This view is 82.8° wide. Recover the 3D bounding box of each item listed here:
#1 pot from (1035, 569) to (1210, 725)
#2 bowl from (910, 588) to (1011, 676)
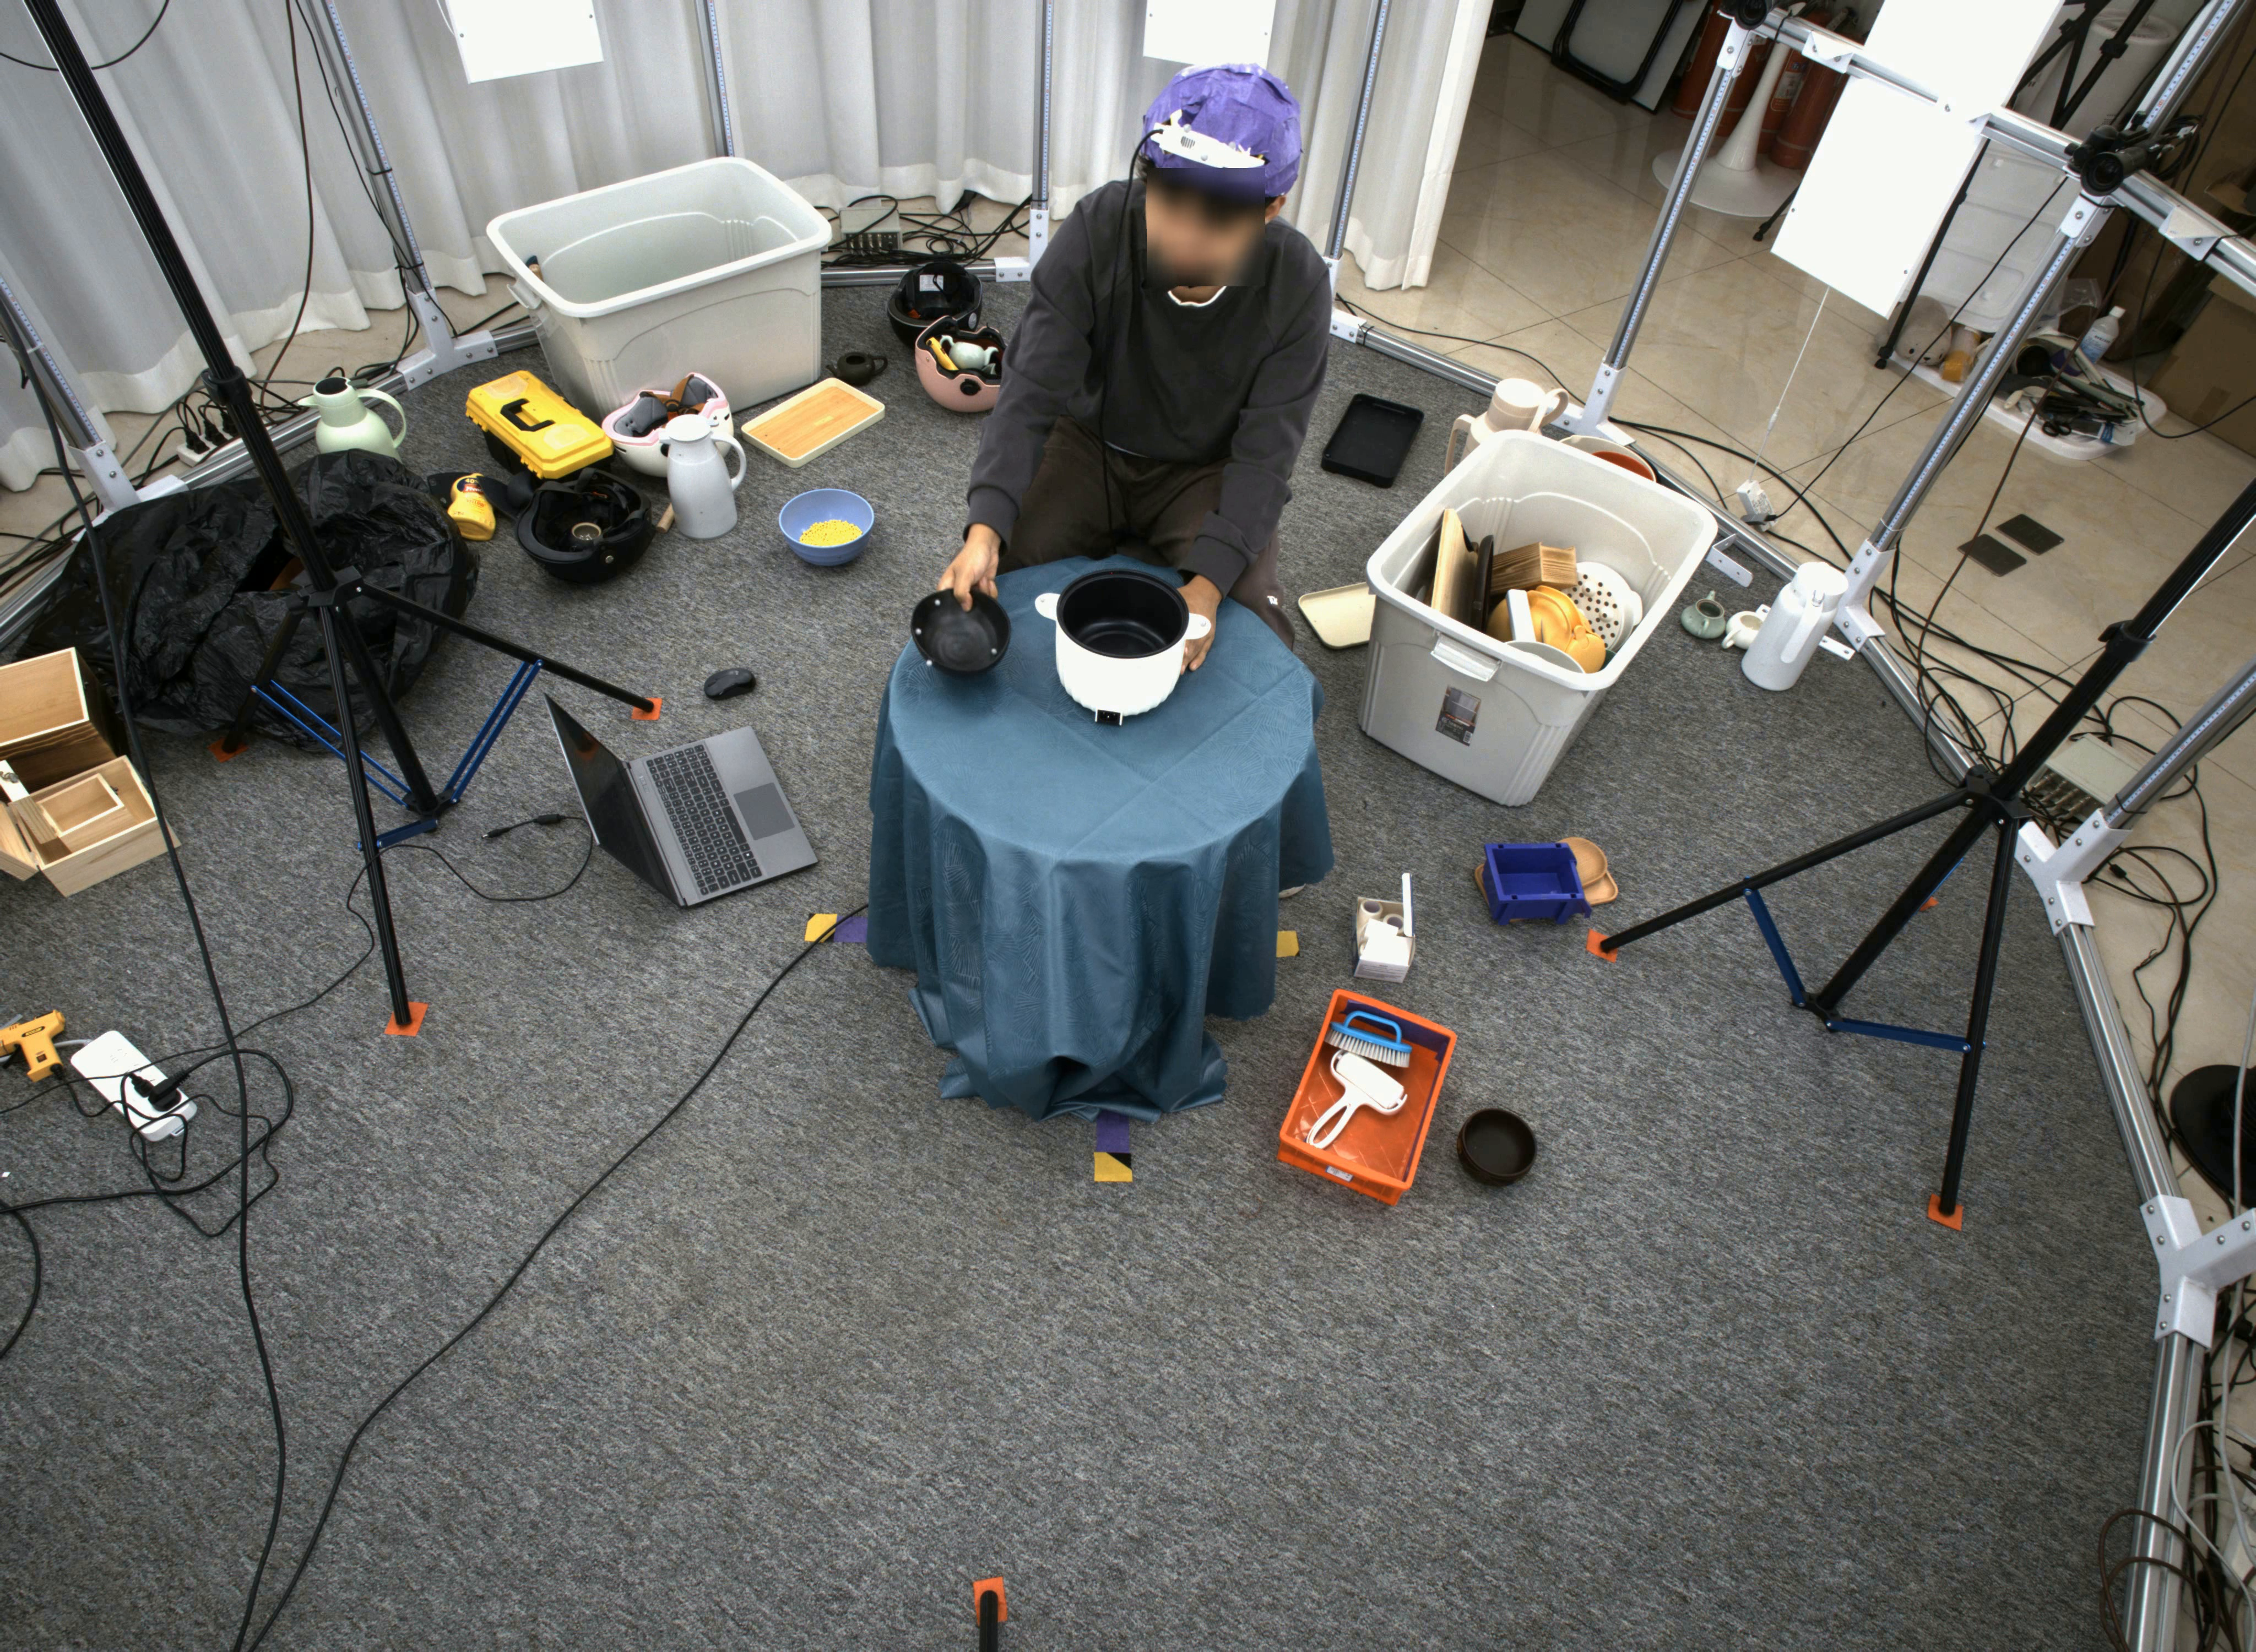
[{"bbox_3d":[-0.012,-0.253,1.795,0.240,0.139,0.195,8,52,1],"label":"pot"},{"bbox_3d":[-0.235,-0.265,1.811,0.137,0.065,0.174,-11,52,-12],"label":"bowl"}]
